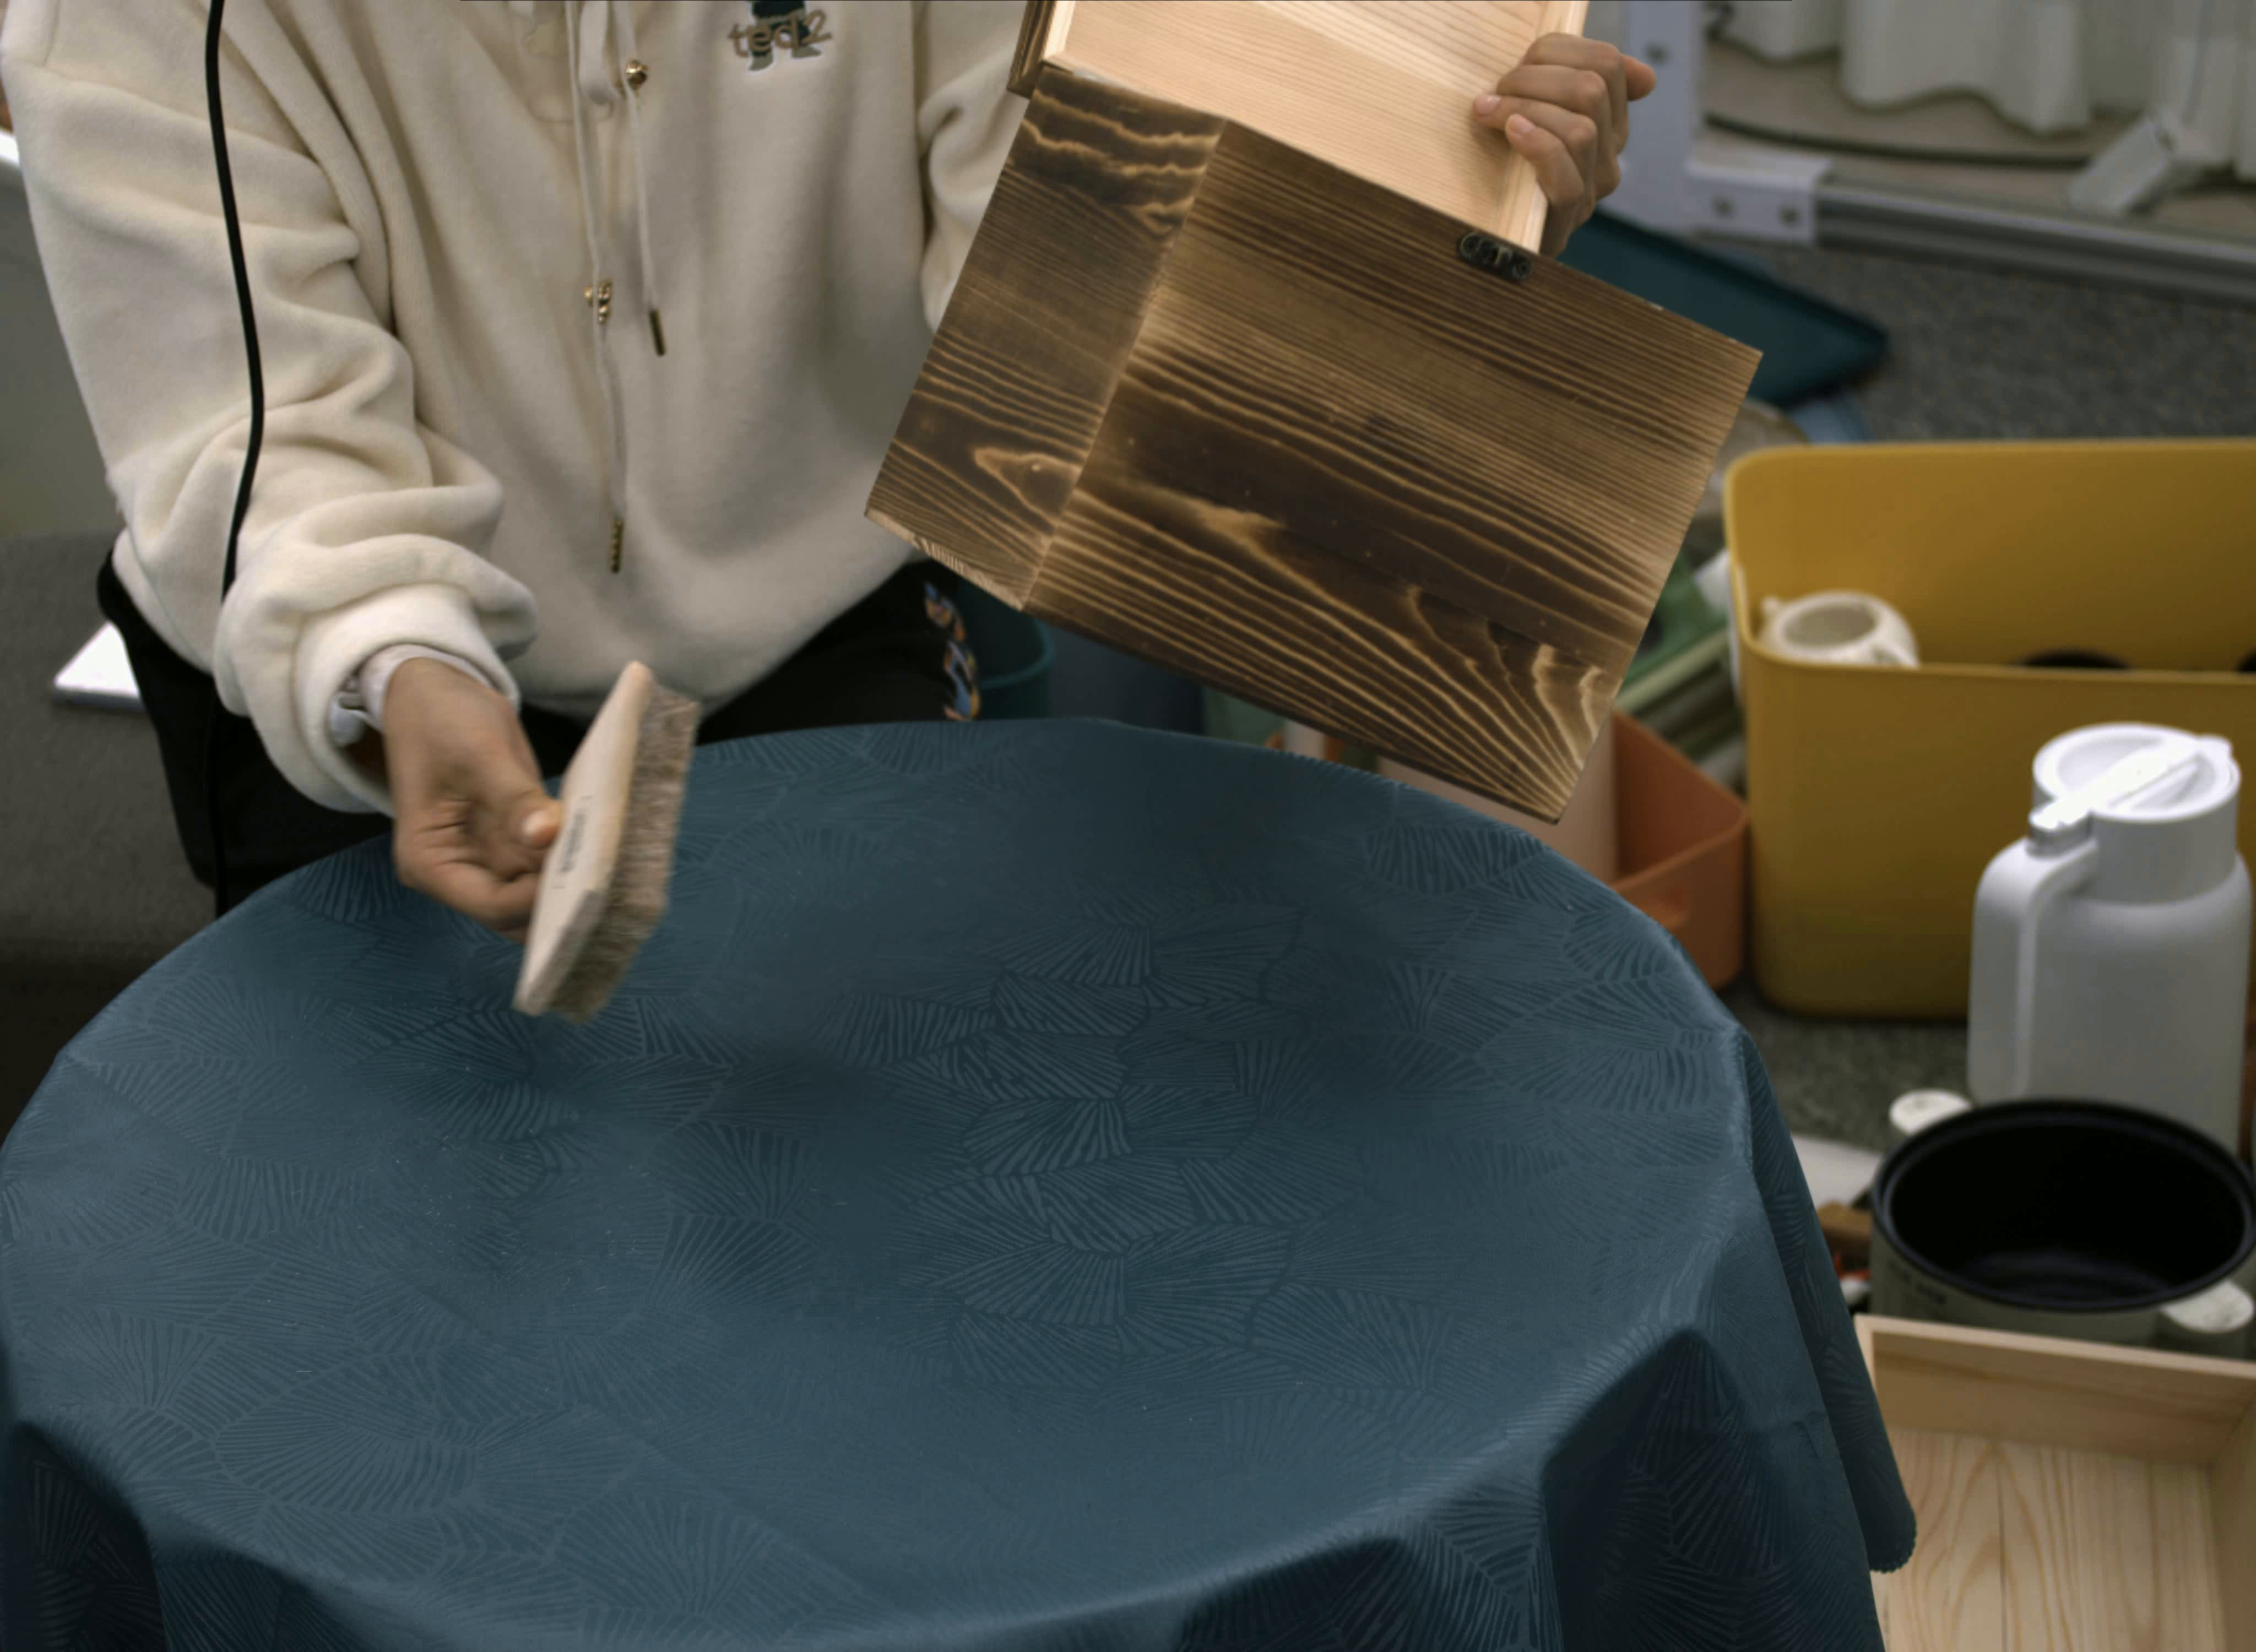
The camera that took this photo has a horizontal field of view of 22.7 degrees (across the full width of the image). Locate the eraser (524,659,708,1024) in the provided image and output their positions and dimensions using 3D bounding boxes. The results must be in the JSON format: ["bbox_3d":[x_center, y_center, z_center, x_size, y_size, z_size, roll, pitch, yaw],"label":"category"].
[{"bbox_3d":[-0.171,0.007,1.890,0.029,0.056,0.142,26,31,-13],"label":"eraser"}]

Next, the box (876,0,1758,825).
[{"bbox_3d":[0.077,-0.233,1.934,0.208,0.375,0.323,20,5,-20],"label":"box"}]
